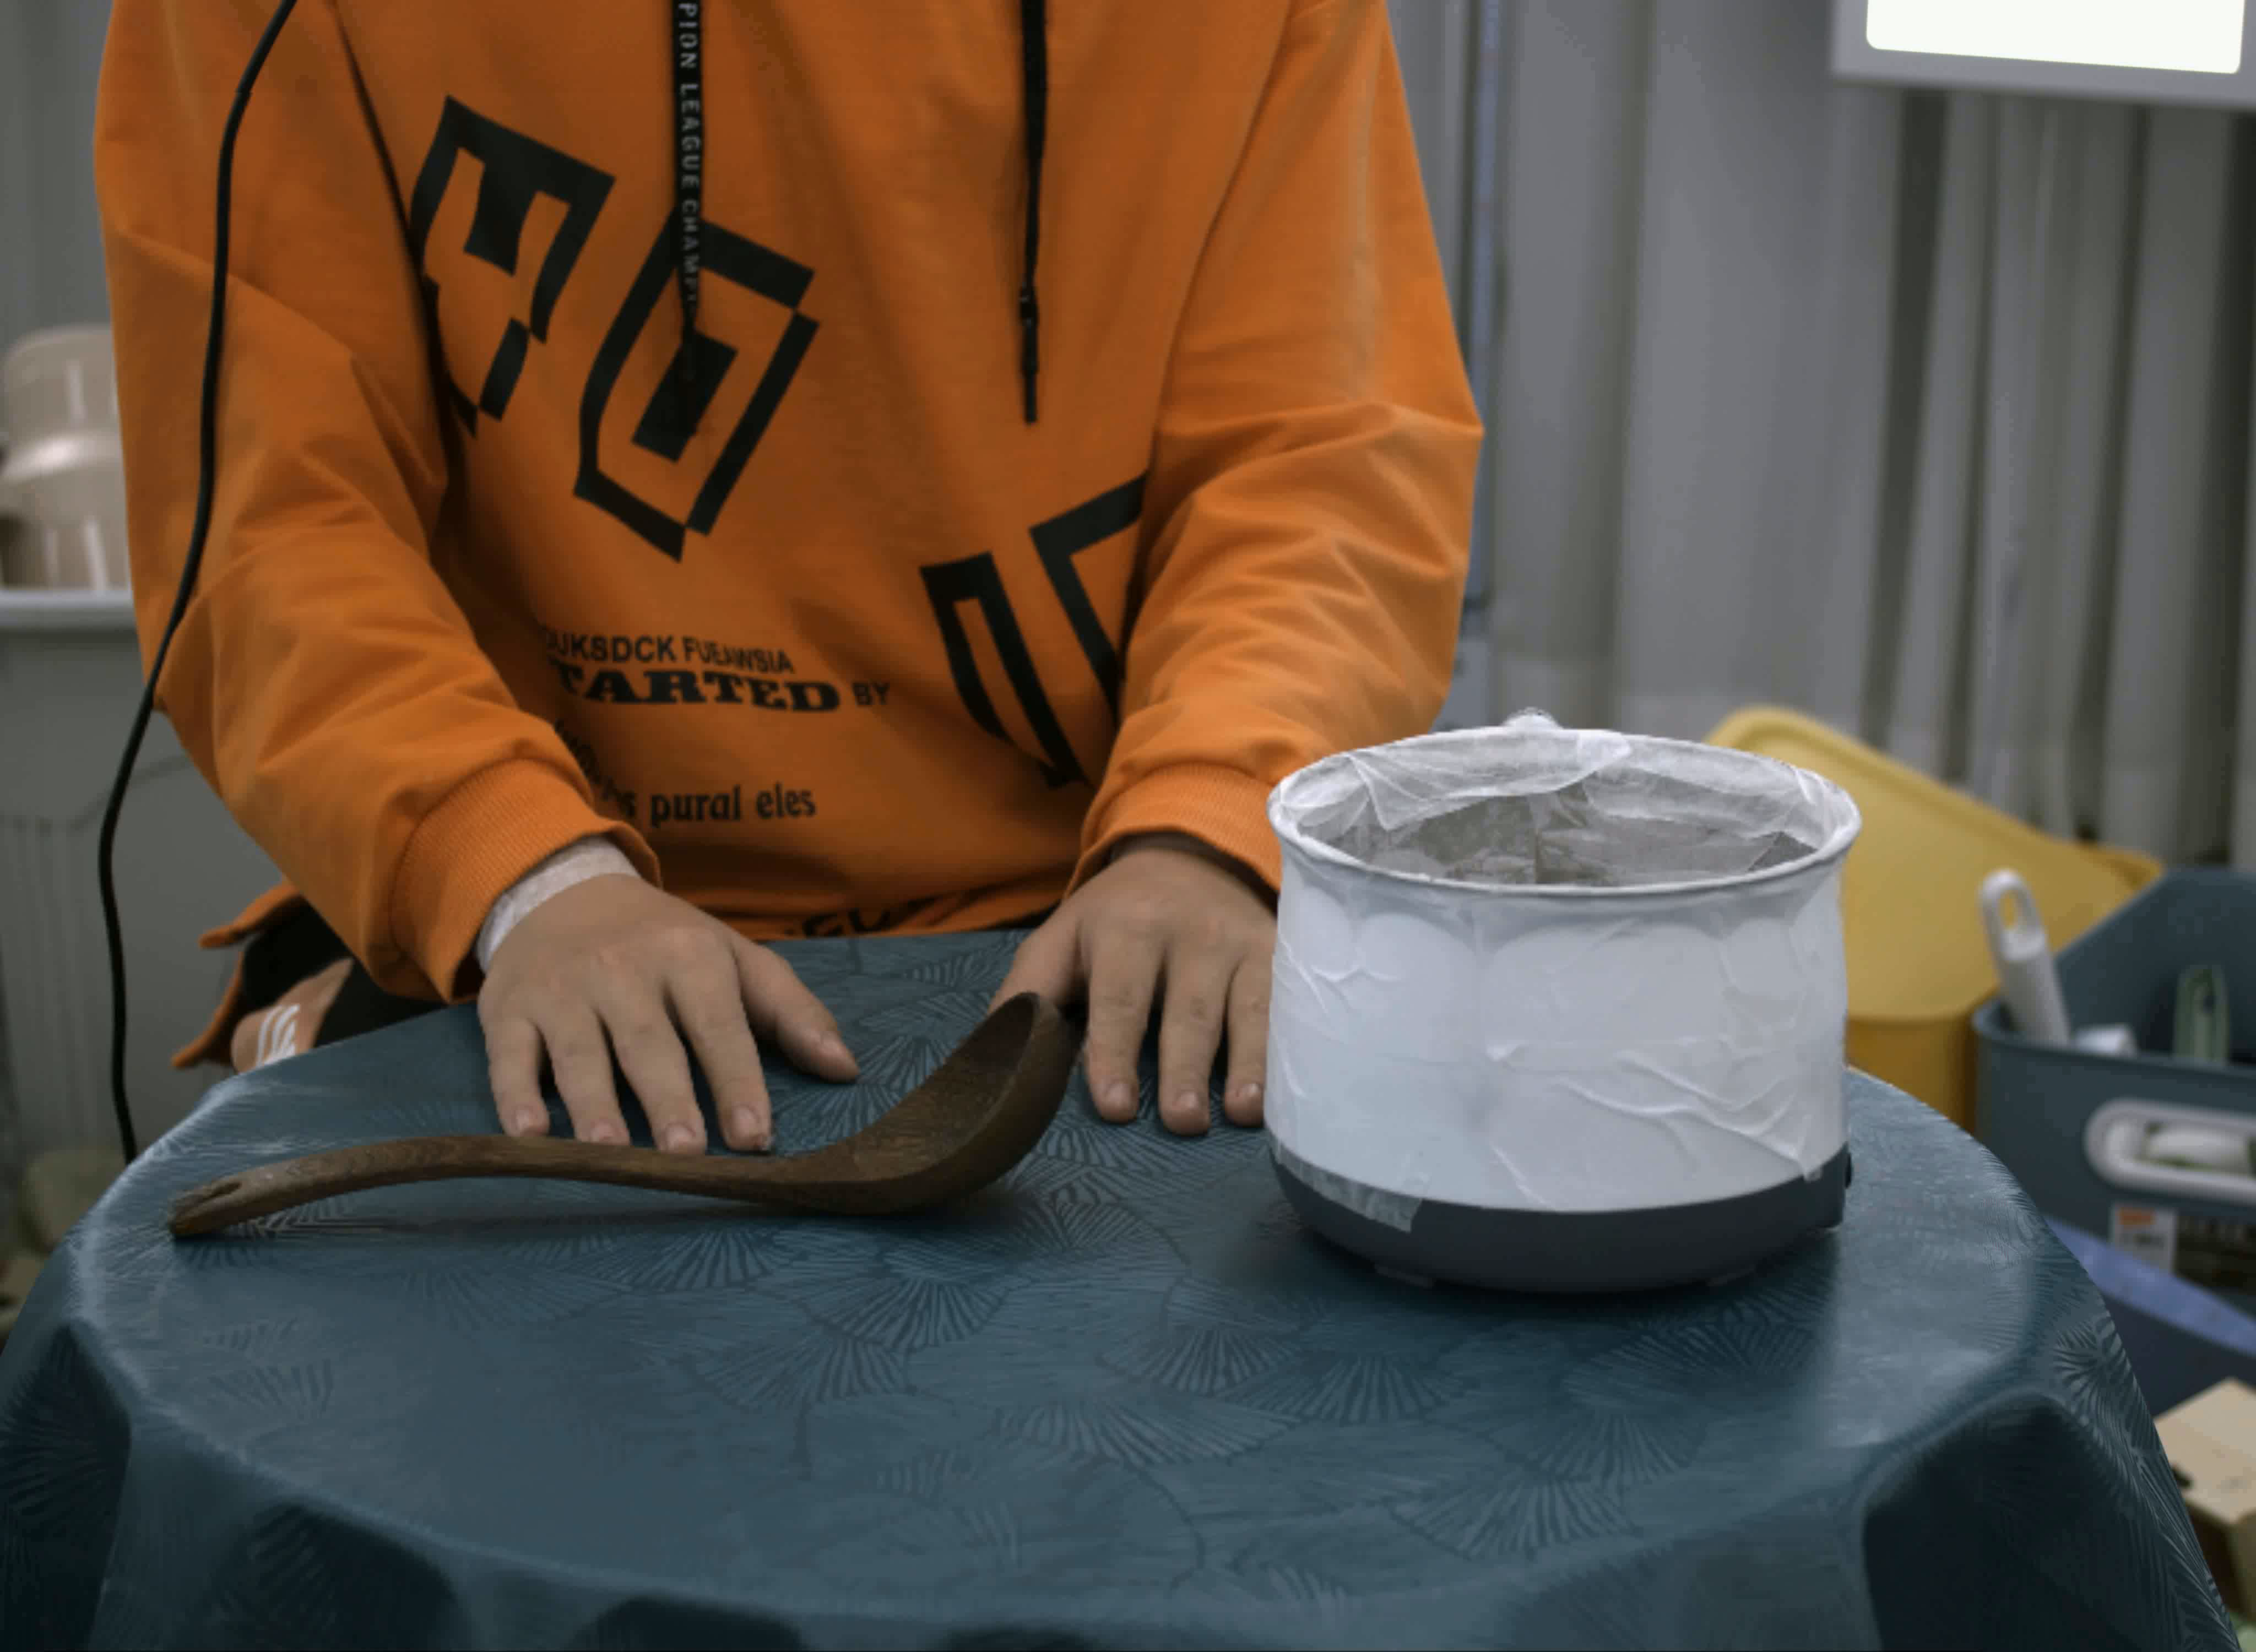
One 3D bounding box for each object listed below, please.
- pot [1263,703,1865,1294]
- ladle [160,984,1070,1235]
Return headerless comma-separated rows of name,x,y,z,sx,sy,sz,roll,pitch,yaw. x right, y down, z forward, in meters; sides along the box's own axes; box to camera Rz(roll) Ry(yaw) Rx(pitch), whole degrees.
pot,0.127,0.047,1.602,0.178,0.138,0.232,0,16,-3
ladle,-0.154,0.085,1.586,0.274,0.072,0.075,-1,13,-7
